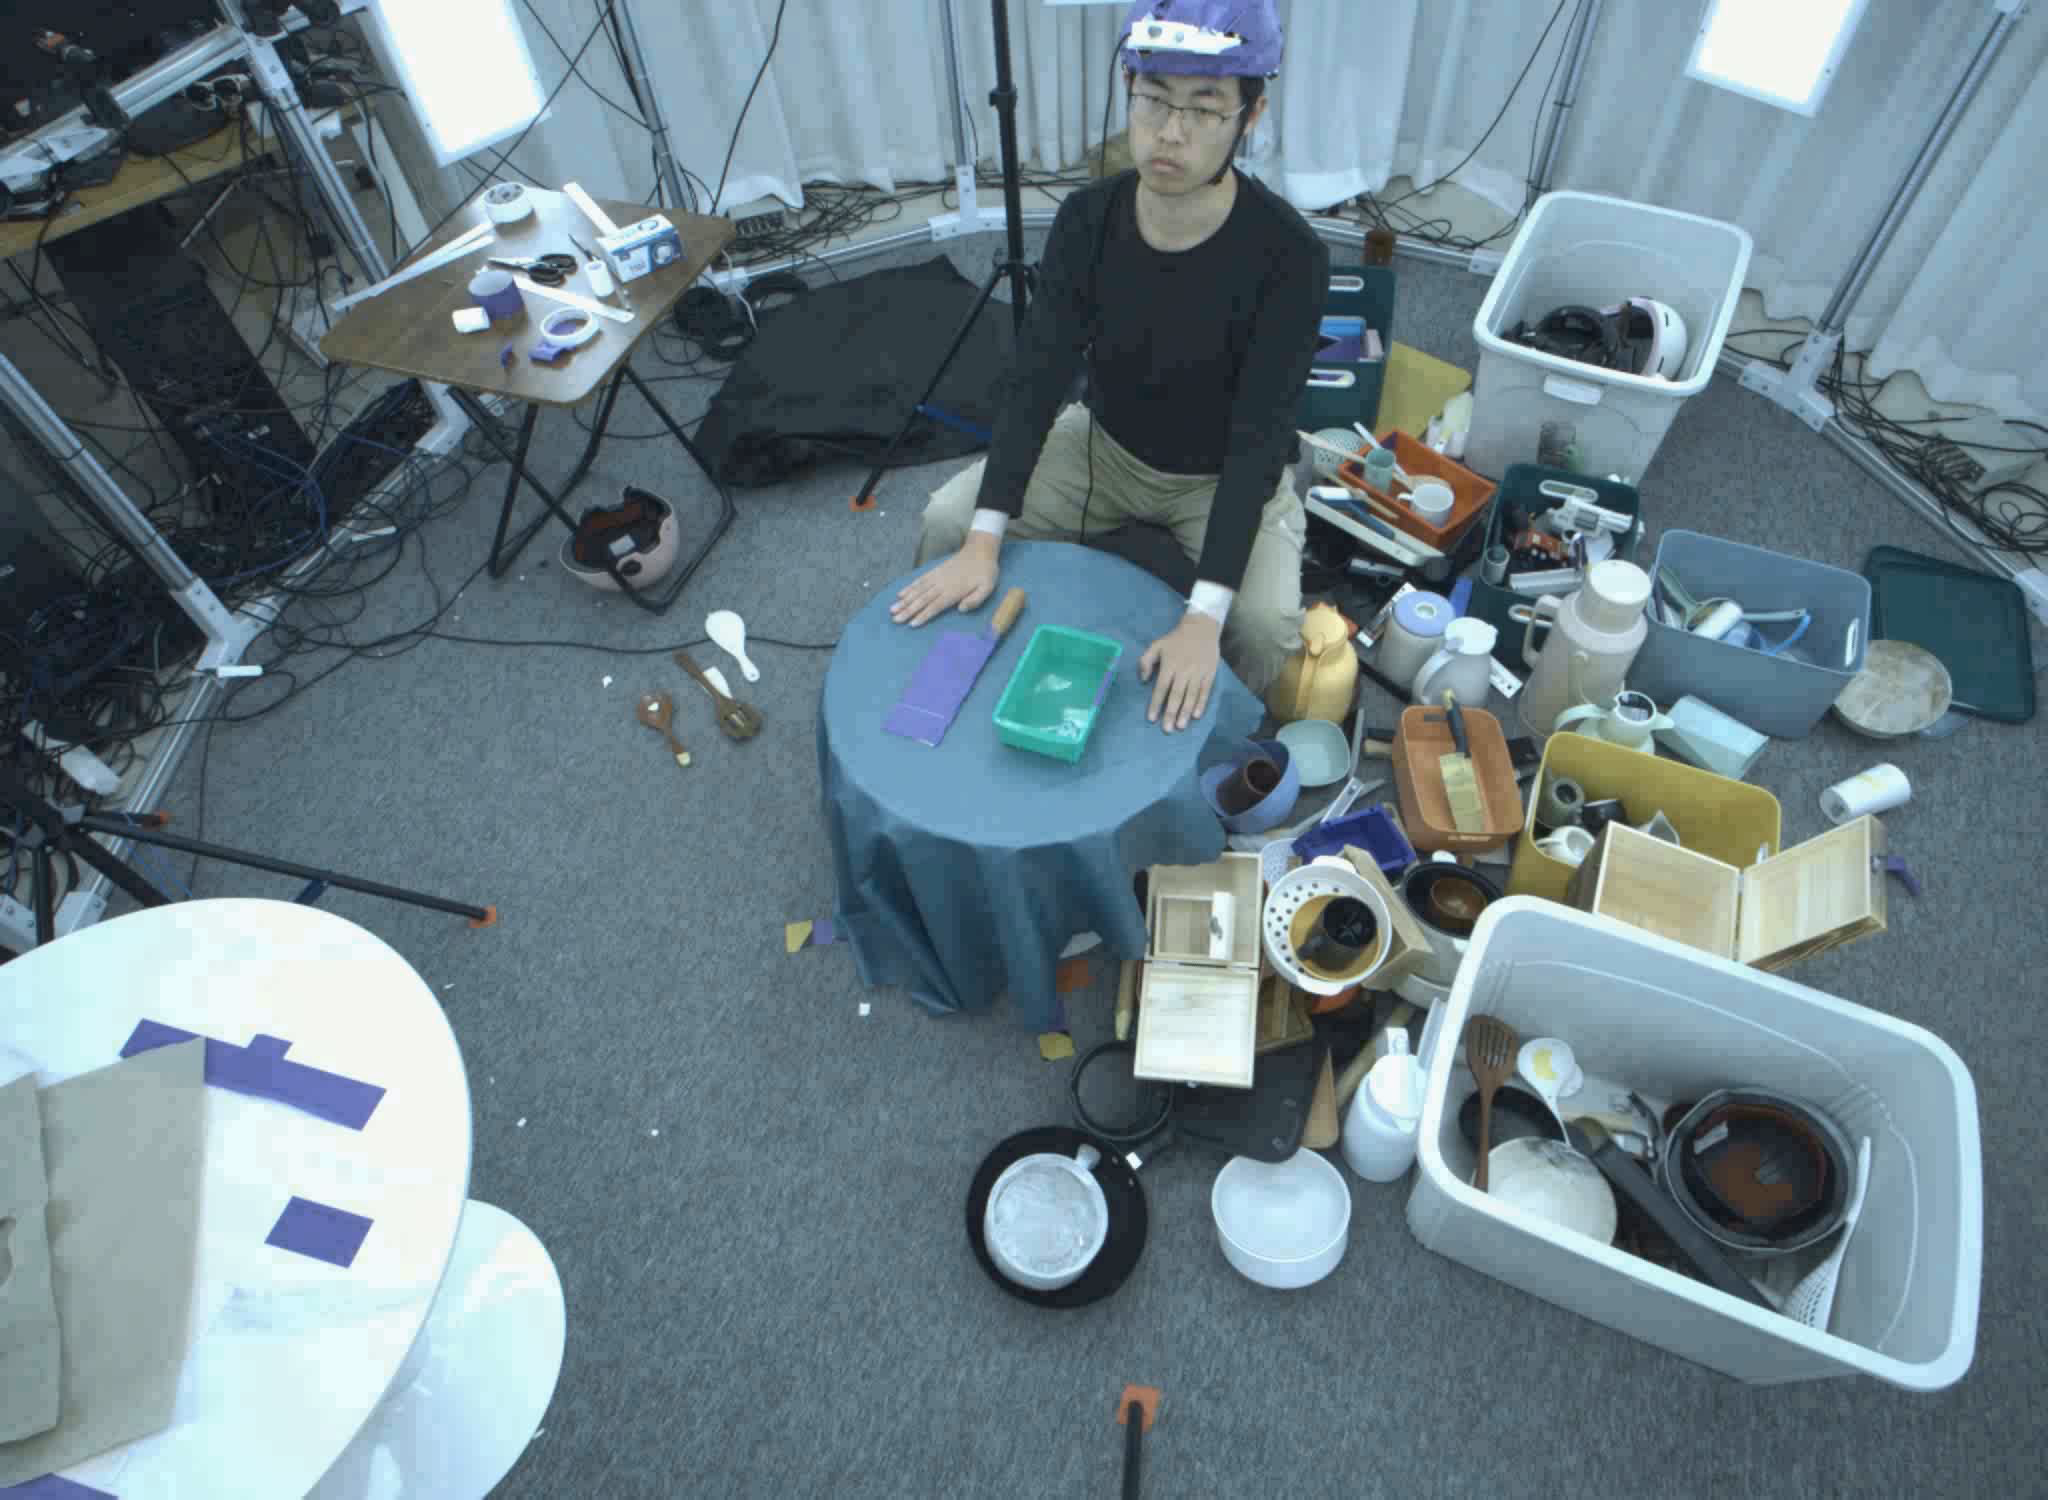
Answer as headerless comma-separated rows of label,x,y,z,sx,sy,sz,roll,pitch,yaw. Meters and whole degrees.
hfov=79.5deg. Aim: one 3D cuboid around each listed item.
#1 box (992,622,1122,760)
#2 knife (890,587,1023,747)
box,0.051,-0.085,1.808,0.137,0.066,0.210,16,55,12
knife,-0.105,-0.139,1.873,0.102,0.032,0.315,19,58,15
